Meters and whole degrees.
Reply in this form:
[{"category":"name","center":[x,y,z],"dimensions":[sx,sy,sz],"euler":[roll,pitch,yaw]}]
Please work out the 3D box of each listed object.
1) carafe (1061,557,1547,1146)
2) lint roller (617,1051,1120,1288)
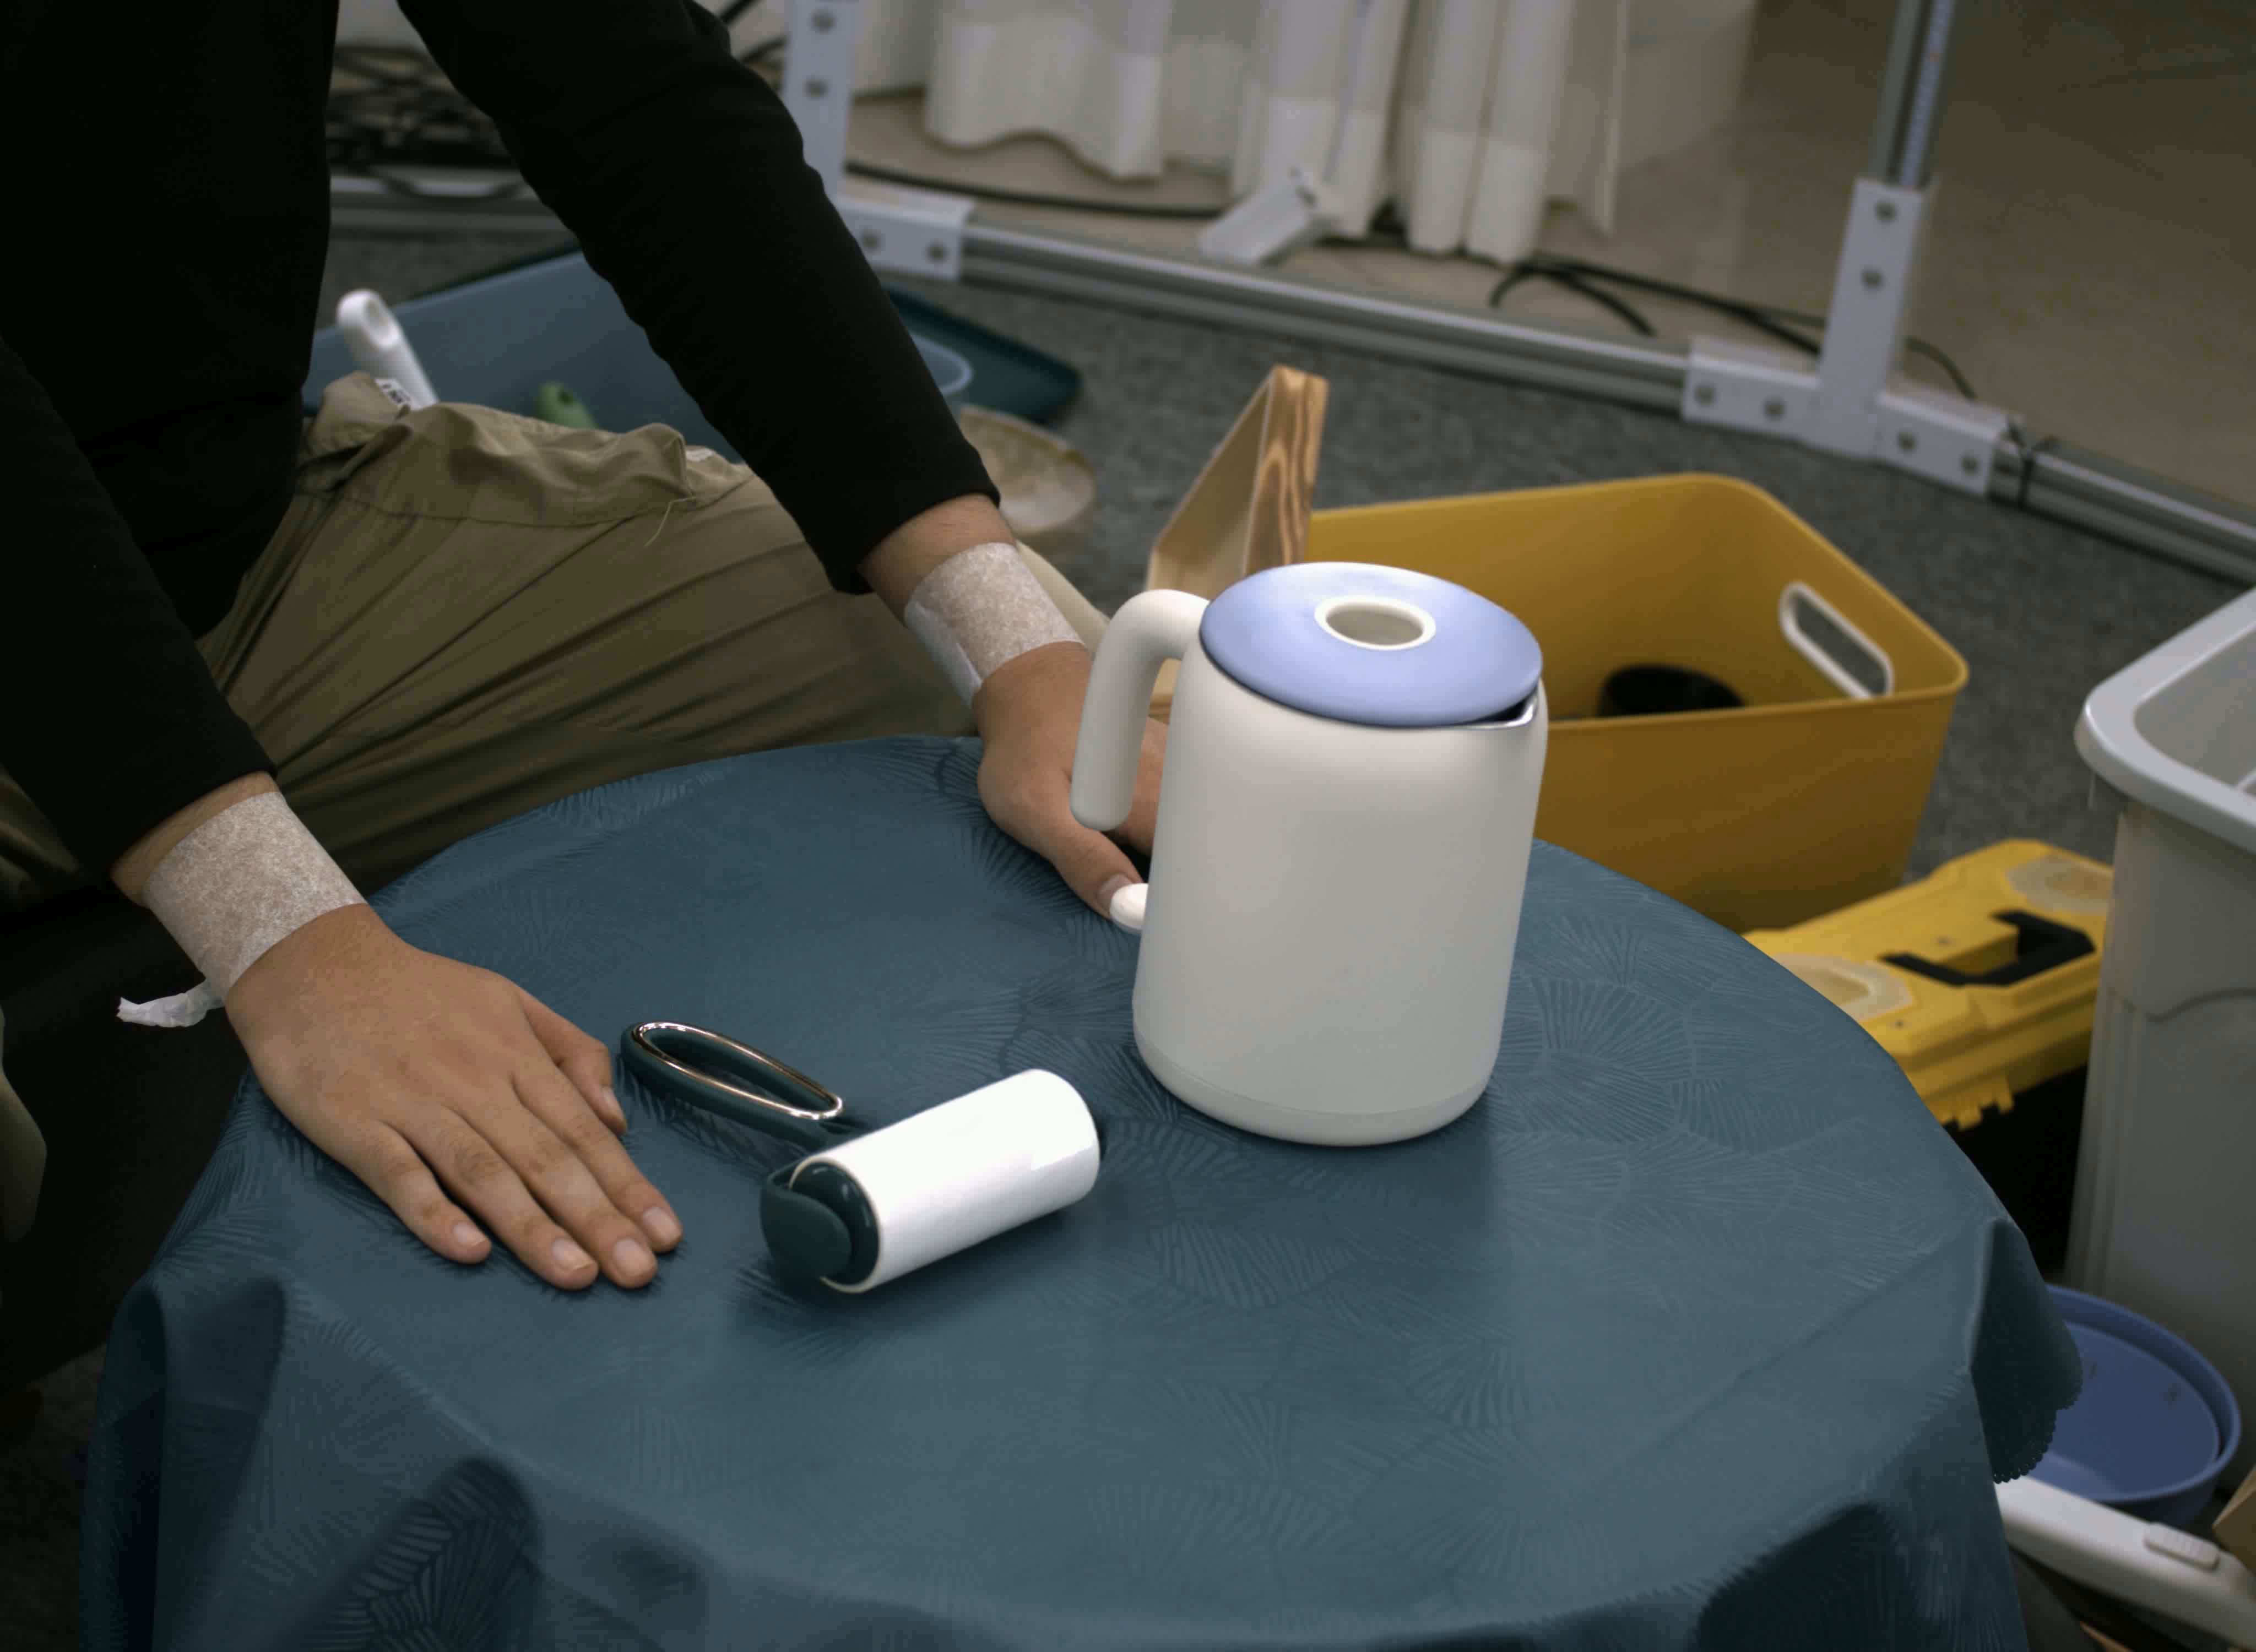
[{"category":"carafe","center":[0.055,0.000,1.868],"dimensions":[0.192,0.182,0.131],"euler":[23,30,33]},{"category":"lint roller","center":[-0.109,0.093,1.792],"dimensions":[0.133,0.048,0.181],"euler":[-20,33,-41]}]
